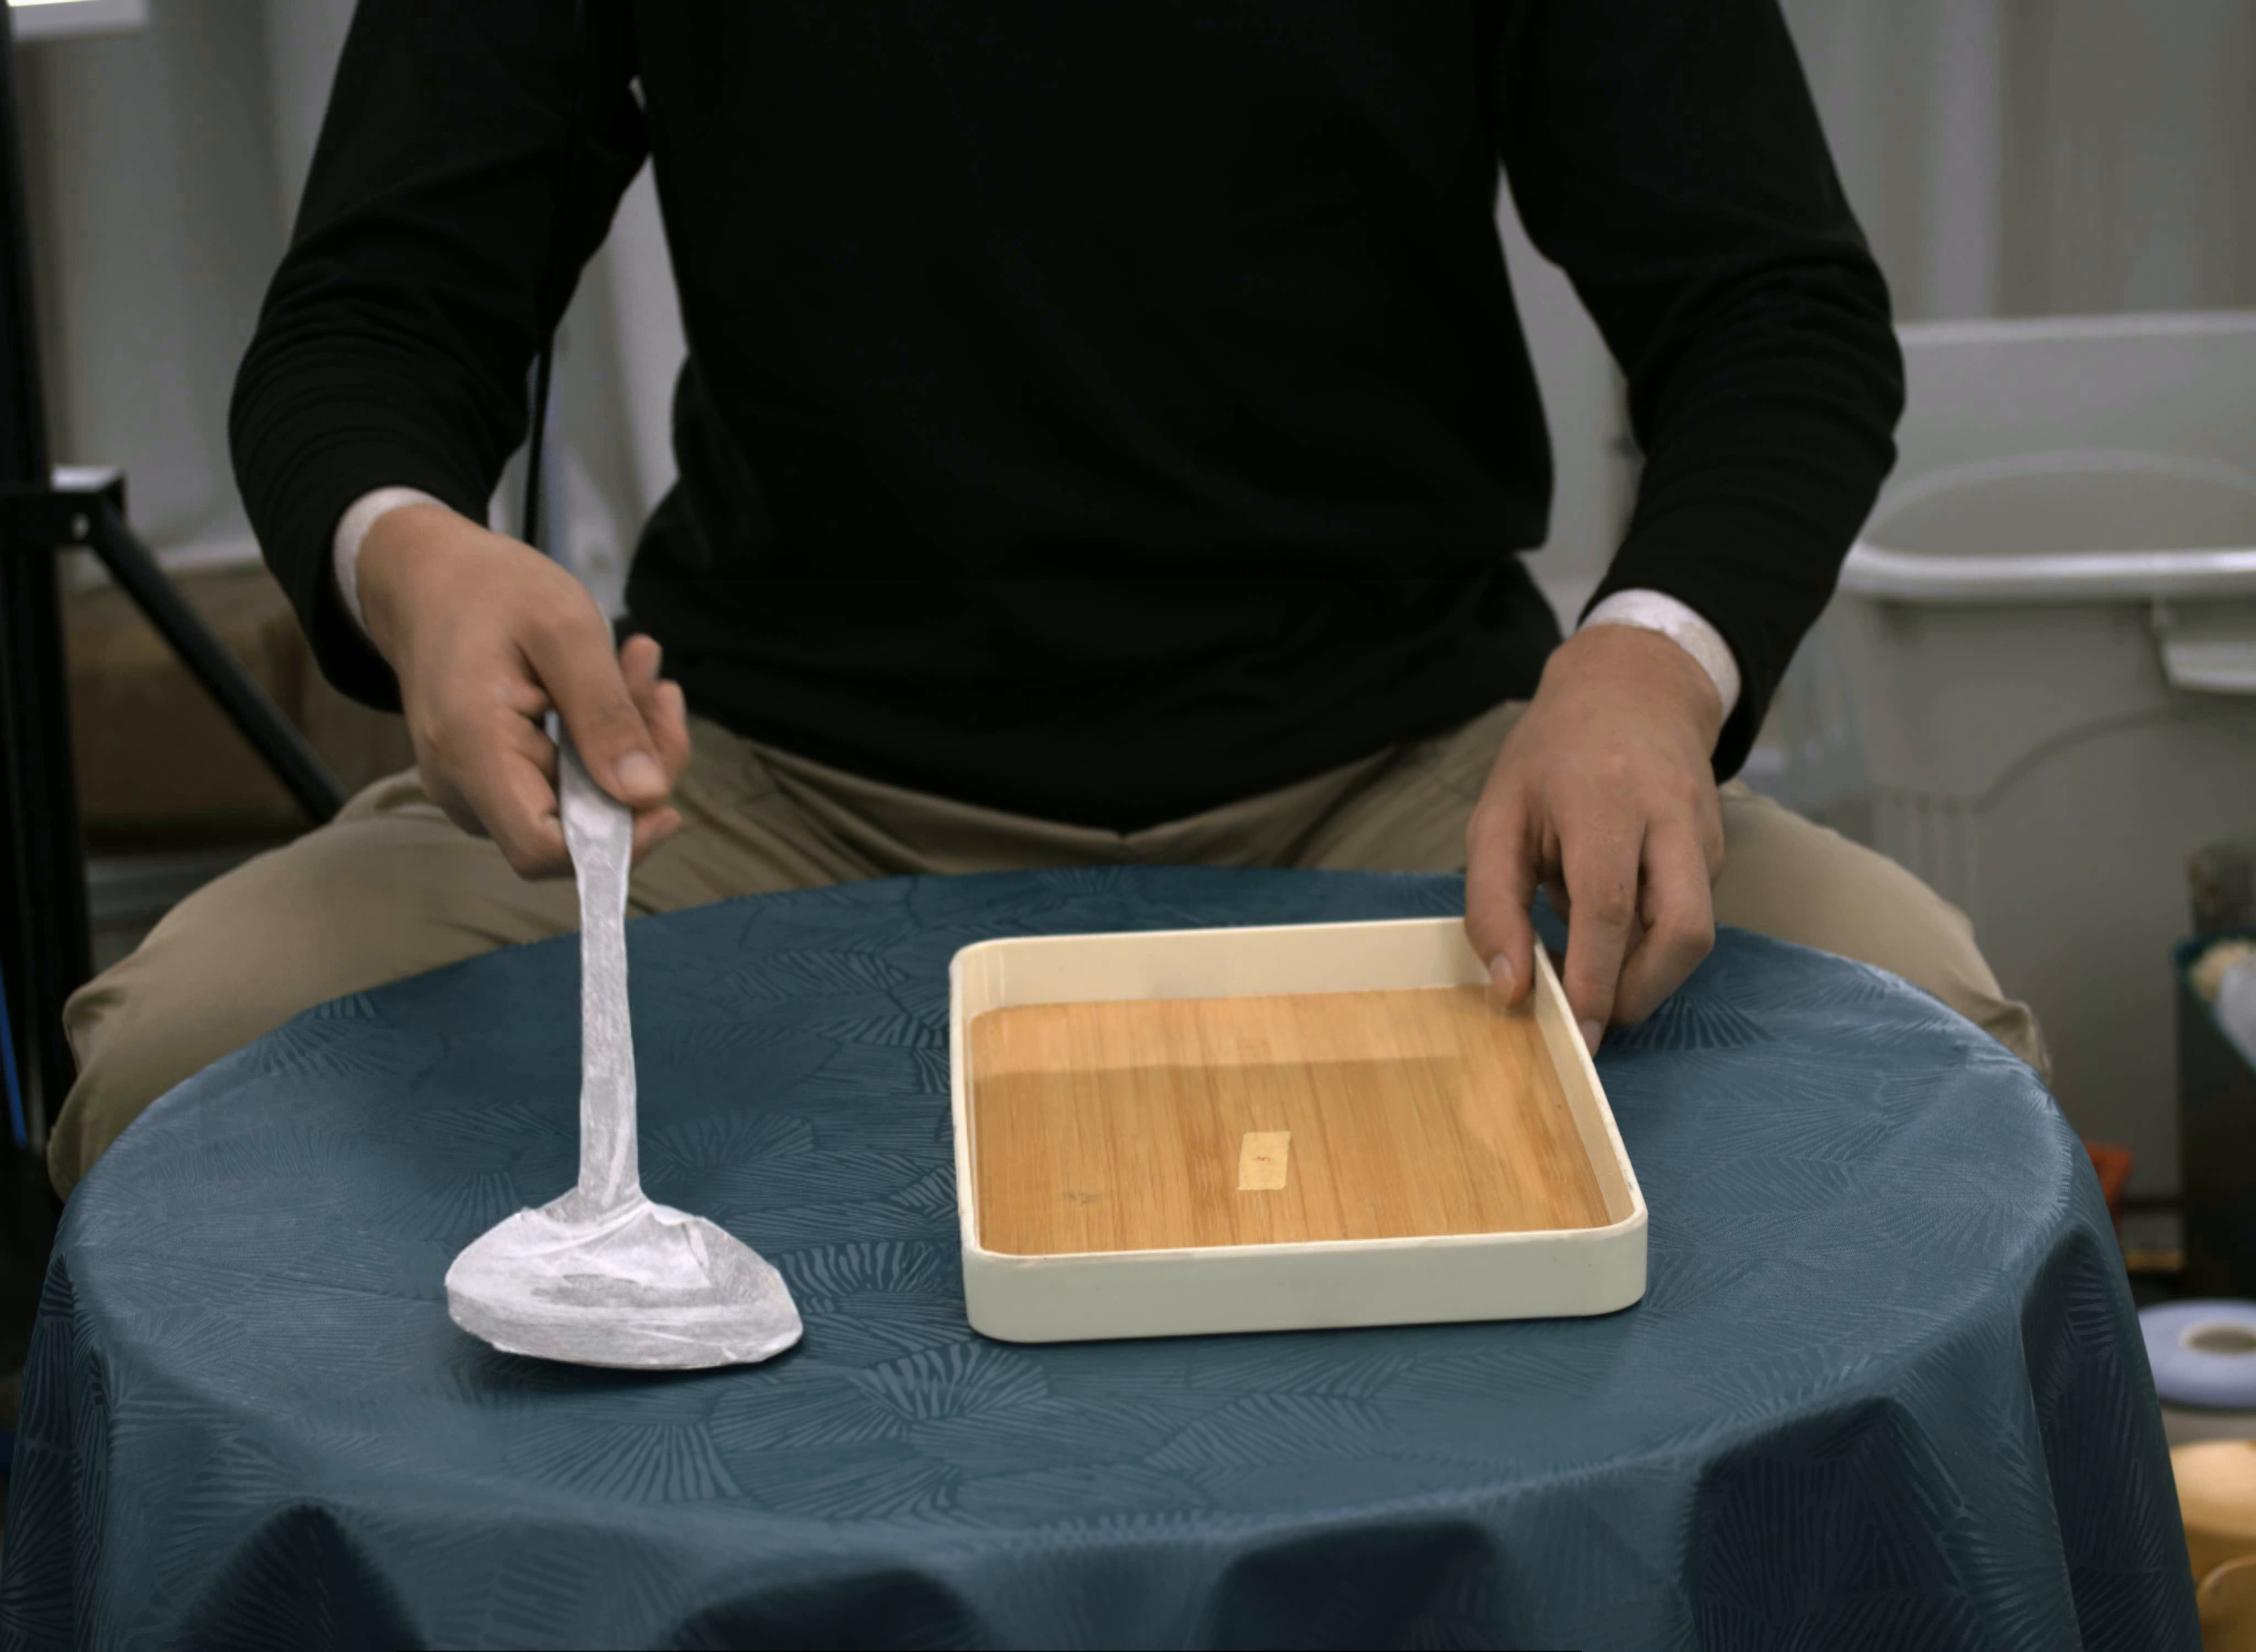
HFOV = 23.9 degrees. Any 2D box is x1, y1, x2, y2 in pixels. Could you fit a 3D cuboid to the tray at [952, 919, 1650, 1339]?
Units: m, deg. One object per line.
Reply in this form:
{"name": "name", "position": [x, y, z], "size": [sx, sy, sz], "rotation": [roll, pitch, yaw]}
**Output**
{"name": "tray", "position": [0.044, 0.086, 1.579], "size": [0.190, 0.027, 0.302], "rotation": [-3, 16, -1]}

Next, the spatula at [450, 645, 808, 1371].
{"name": "spatula", "position": [-0.150, 0.042, 1.573], "size": [0.097, 0.045, 0.369], "rotation": [3, 40, -8]}
